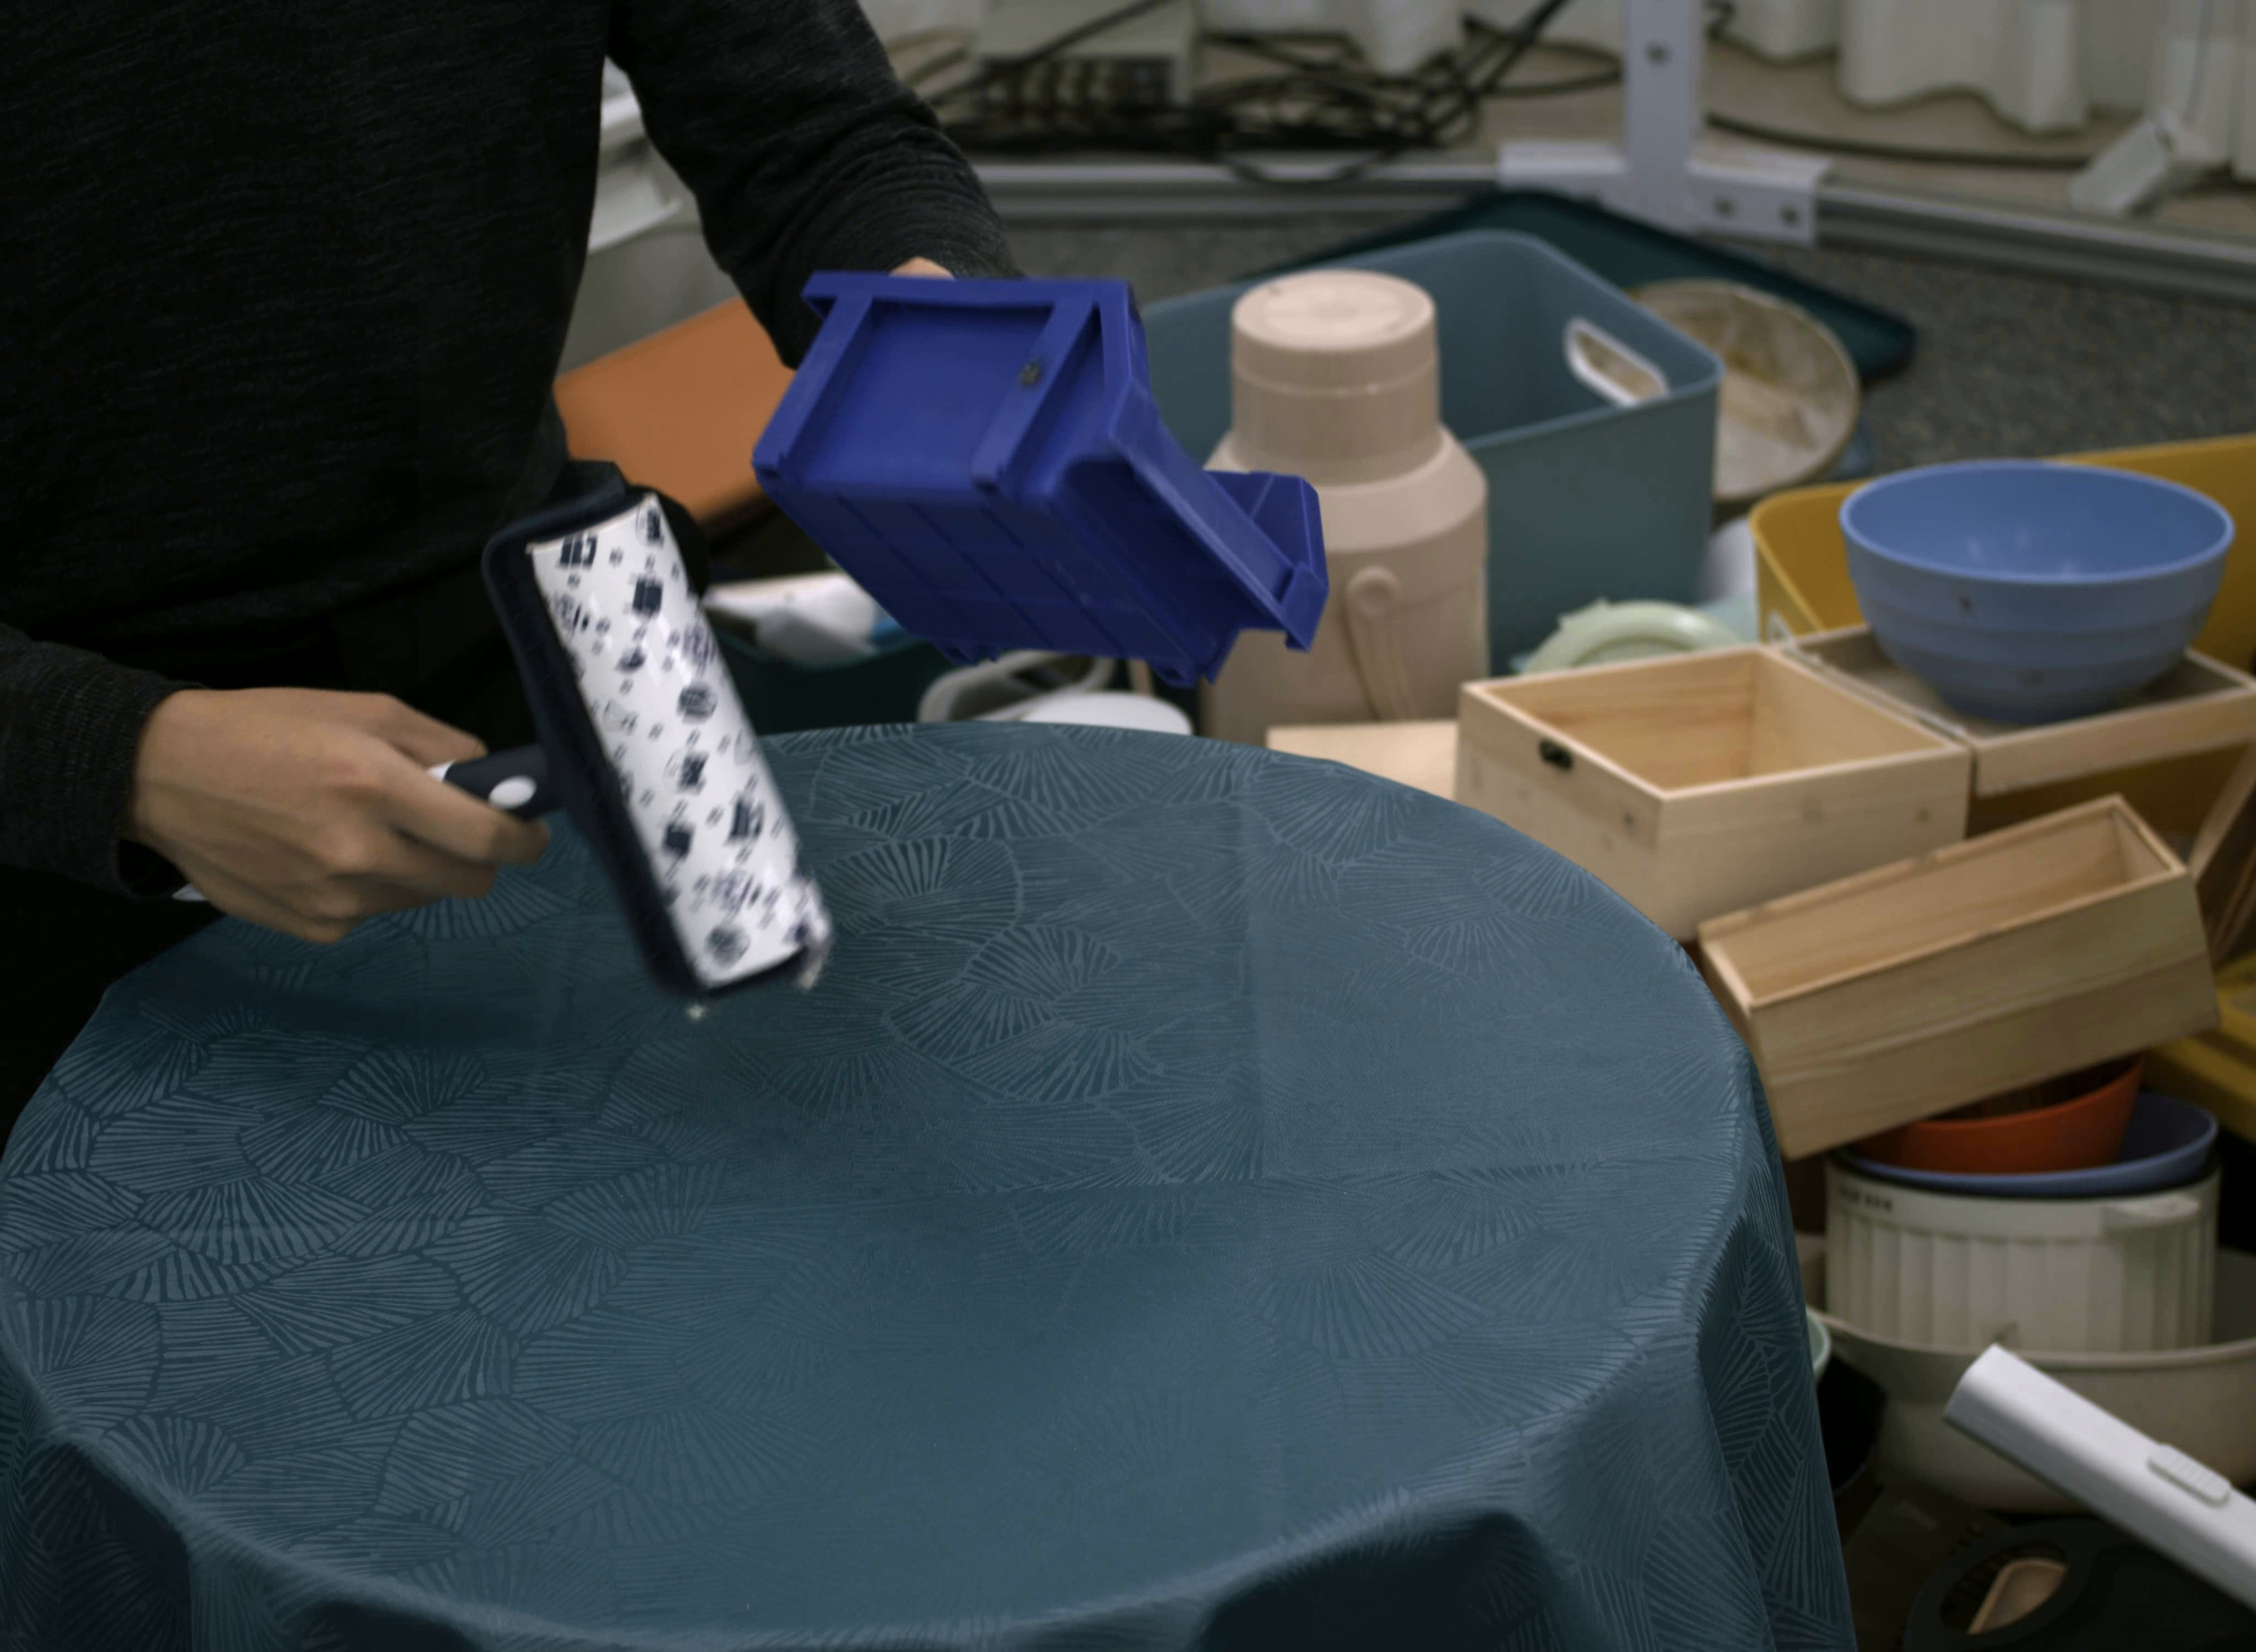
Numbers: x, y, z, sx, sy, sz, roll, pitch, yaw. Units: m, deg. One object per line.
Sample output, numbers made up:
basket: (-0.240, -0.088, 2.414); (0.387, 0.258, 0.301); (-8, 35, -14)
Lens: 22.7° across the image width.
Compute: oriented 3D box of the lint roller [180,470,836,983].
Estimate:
lint roller: (-0.234, -0.007, 1.945); (0.244, 0.176, 0.051); (-18, 12, 27)

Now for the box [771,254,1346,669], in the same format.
box: (-0.021, -0.119, 1.876); (0.178, 0.123, 0.083); (2, 55, 43)
